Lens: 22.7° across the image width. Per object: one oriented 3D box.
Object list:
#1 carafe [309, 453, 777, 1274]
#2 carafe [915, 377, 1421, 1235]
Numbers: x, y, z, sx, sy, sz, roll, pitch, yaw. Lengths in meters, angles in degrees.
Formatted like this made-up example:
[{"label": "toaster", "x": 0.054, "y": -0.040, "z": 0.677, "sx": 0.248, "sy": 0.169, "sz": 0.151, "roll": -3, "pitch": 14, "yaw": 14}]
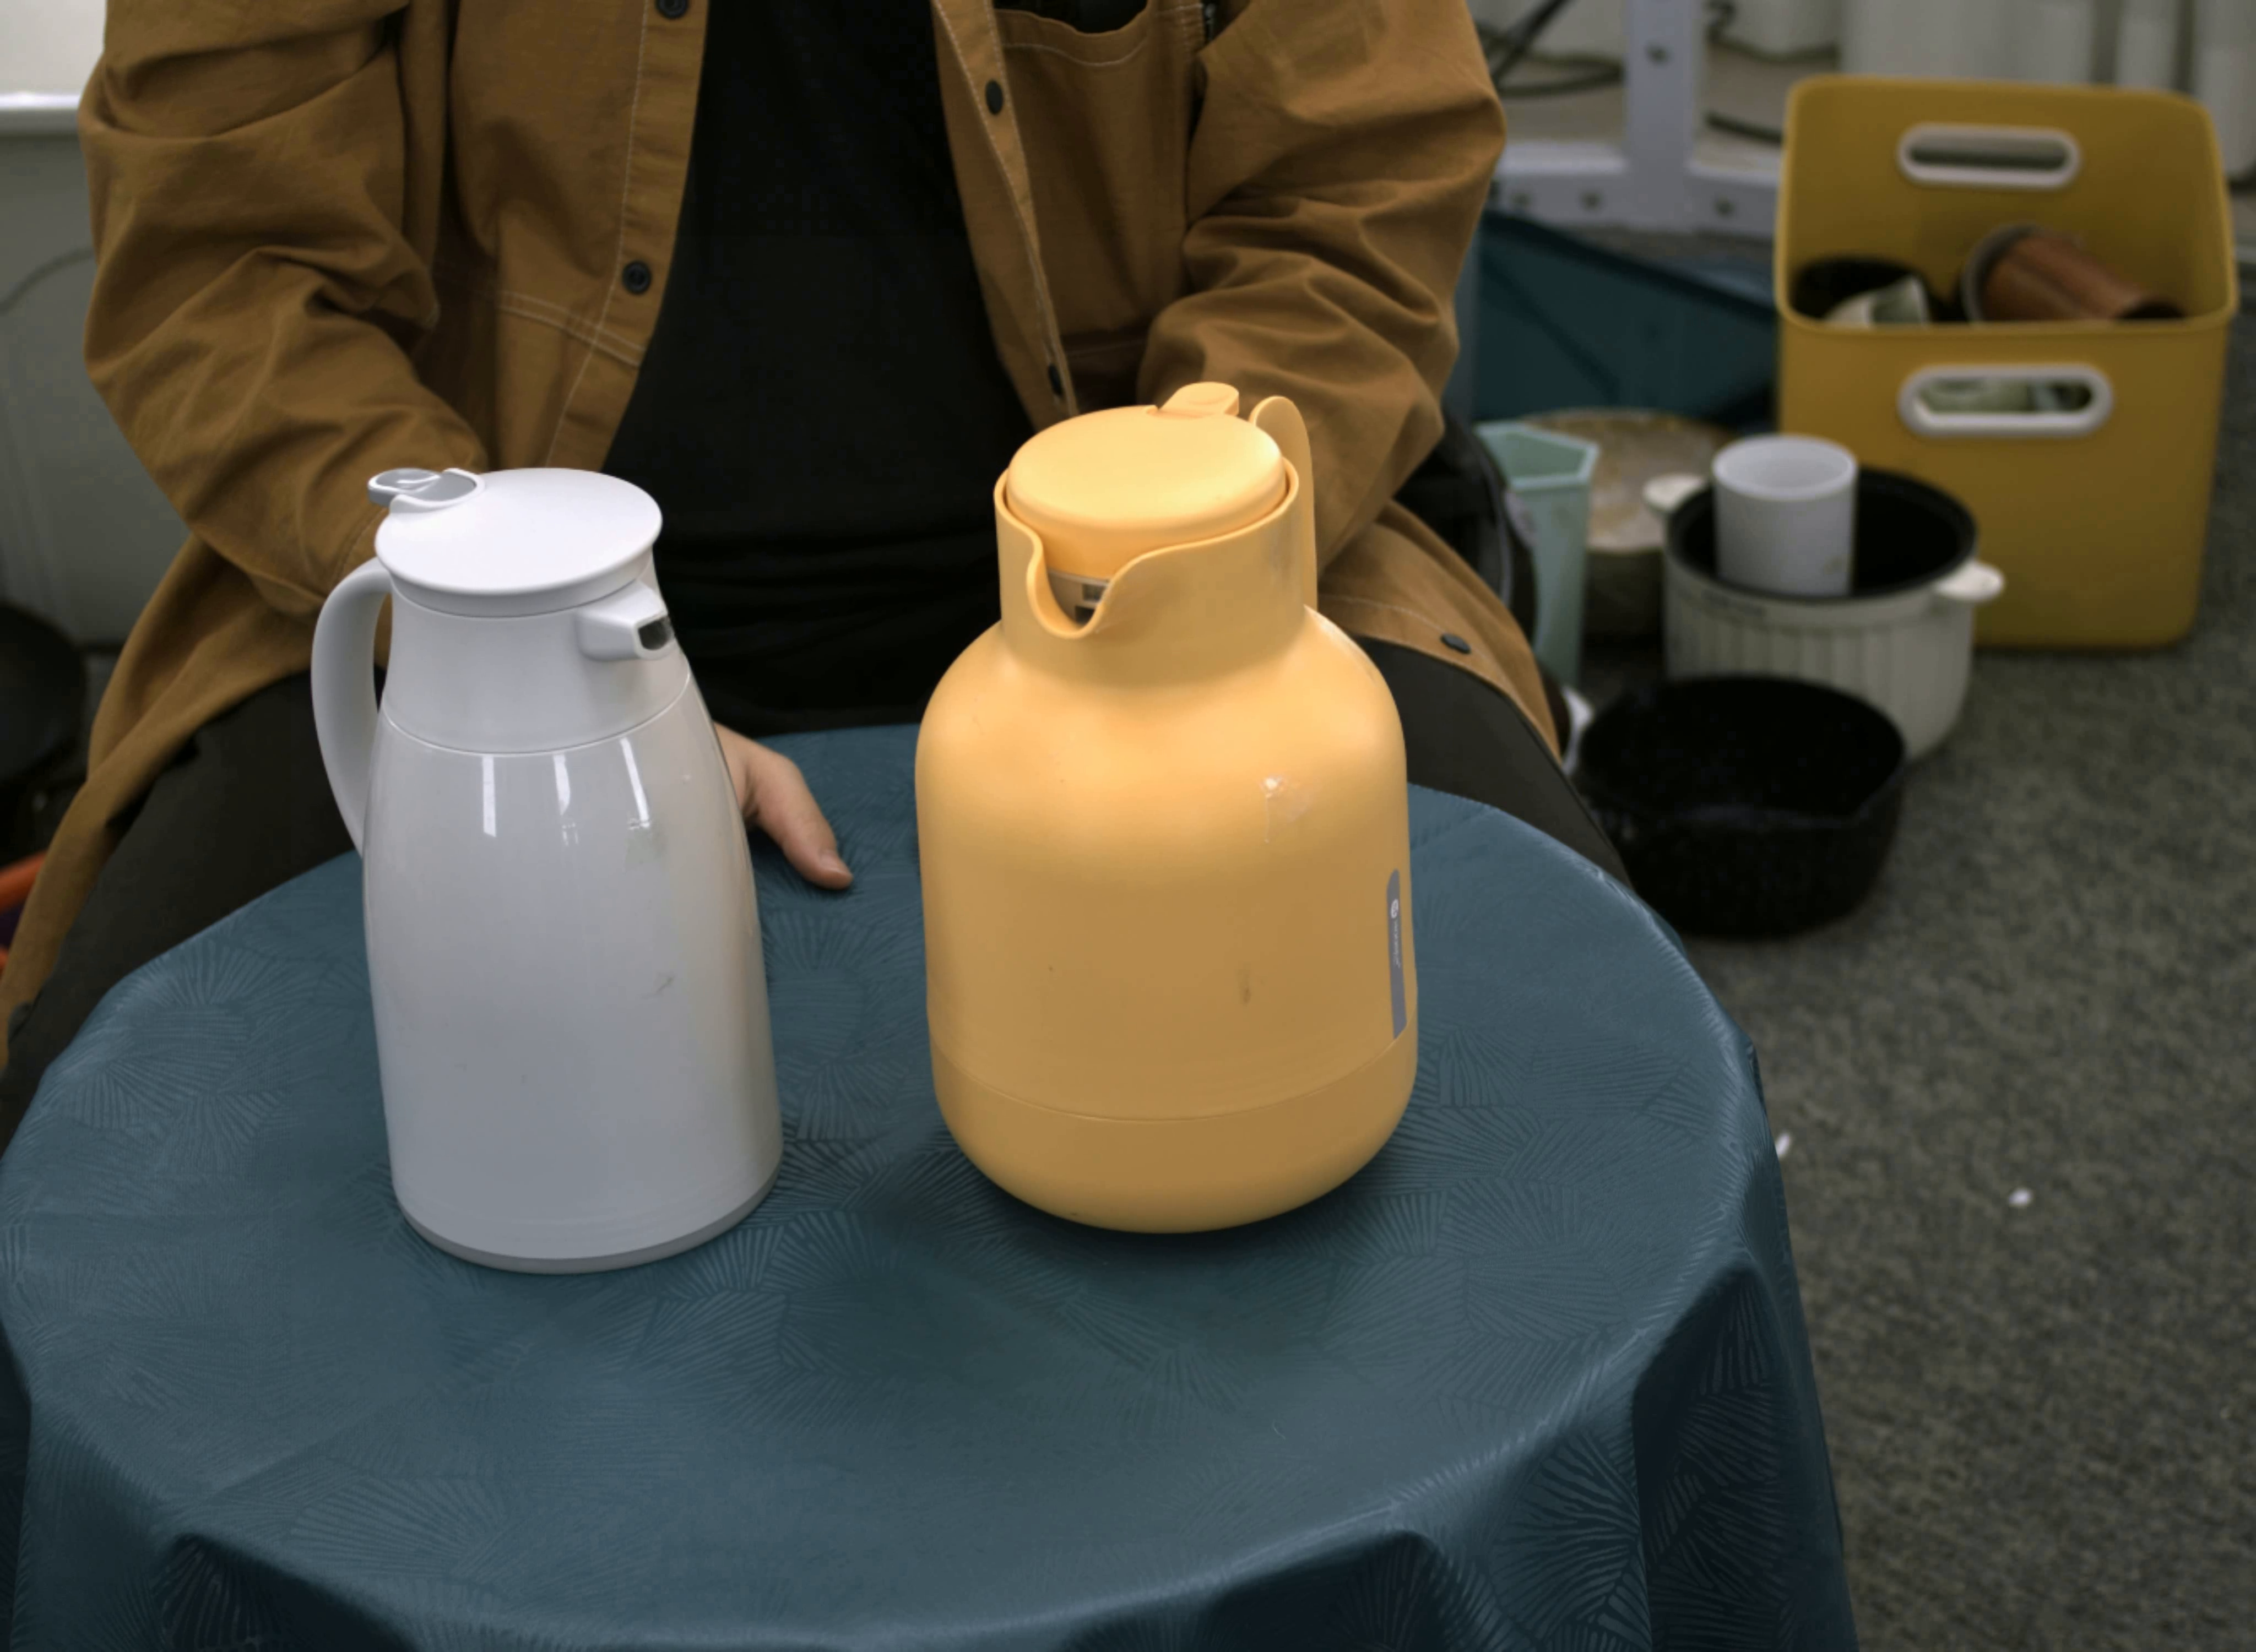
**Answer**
[{"label": "carafe", "x": -0.203, "y": 0.002, "z": 1.843, "sx": 0.167, "sy": 0.246, "sz": 0.134, "roll": 18, "pitch": 33, "yaw": 37}, {"label": "carafe", "x": 0.020, "y": -0.016, "z": 1.844, "sx": 0.162, "sy": 0.257, "sz": 0.206, "roll": 10, "pitch": 30, "yaw": 21}]
